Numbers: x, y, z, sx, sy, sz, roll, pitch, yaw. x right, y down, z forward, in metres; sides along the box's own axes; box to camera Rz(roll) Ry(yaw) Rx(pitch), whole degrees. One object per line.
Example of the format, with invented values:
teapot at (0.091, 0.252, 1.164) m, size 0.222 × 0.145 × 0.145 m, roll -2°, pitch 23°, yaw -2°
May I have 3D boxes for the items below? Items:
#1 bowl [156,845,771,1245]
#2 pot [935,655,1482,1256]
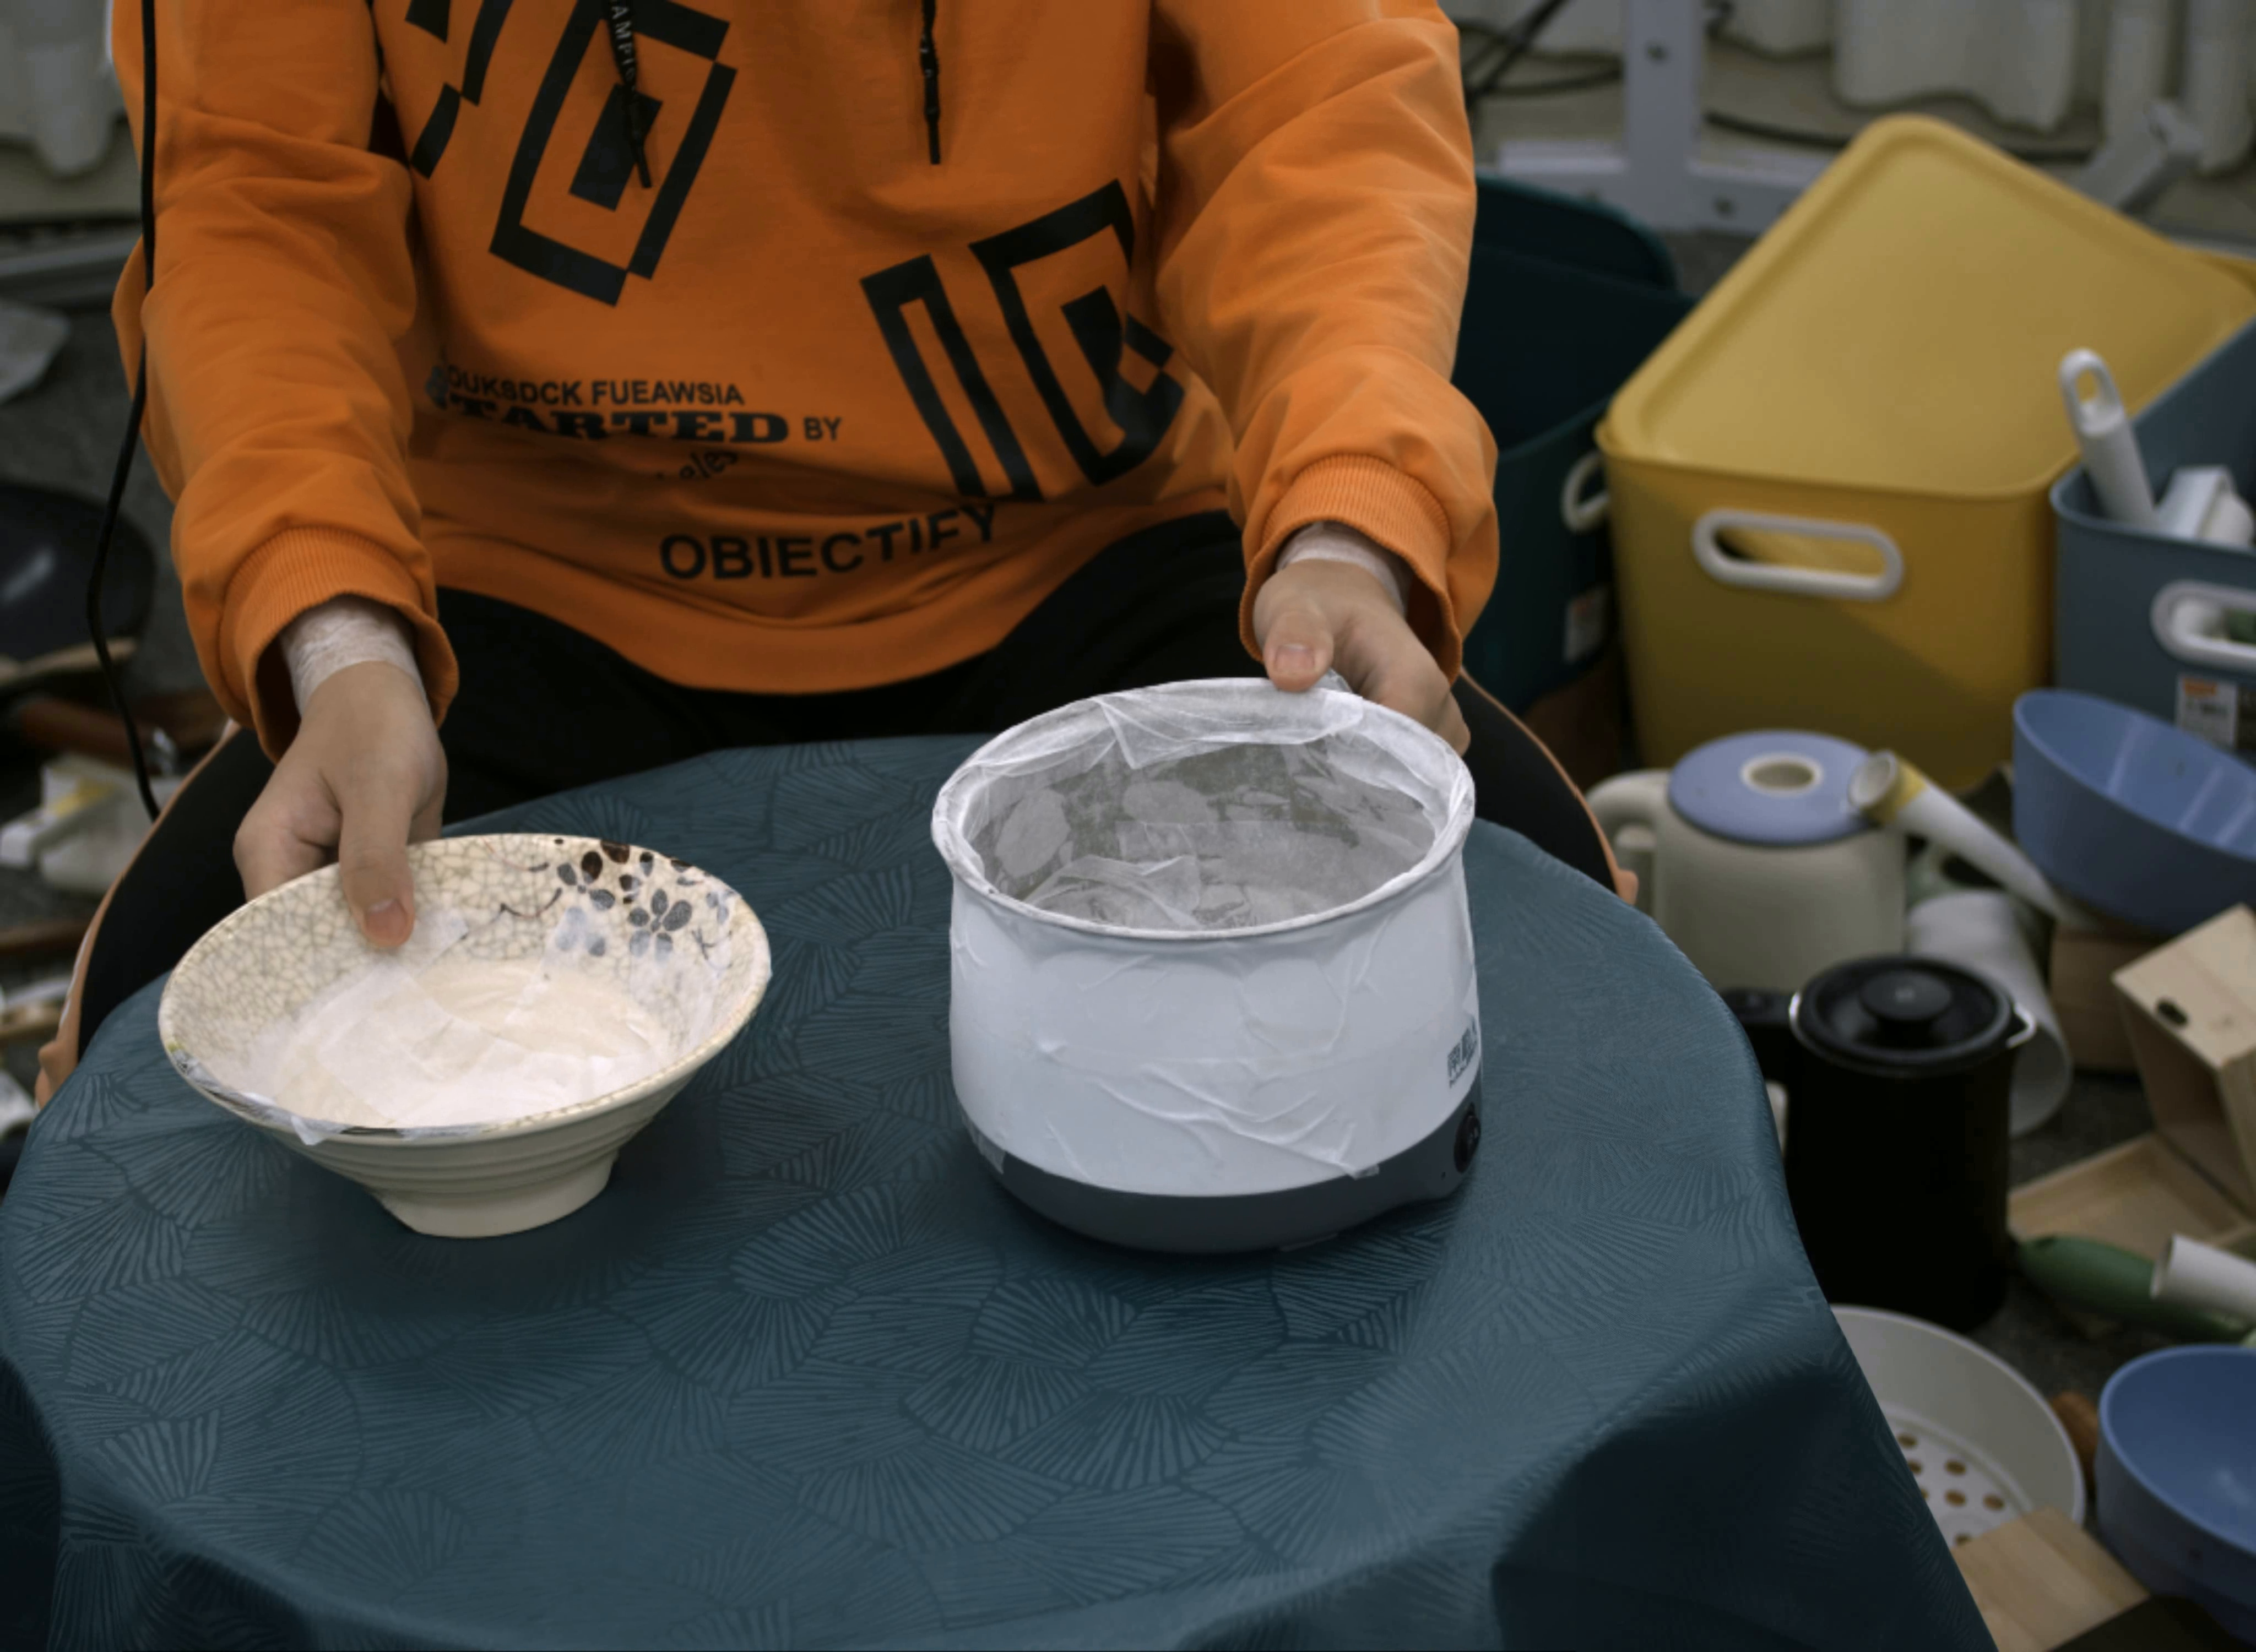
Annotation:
bowl at (-0.217, 0.085, 1.873) m, size 0.203 × 0.077 × 0.207 m, roll -3°, pitch 25°, yaw 2°
pot at (0.037, 0.035, 1.877) m, size 0.177 × 0.135 × 0.238 m, roll 7°, pitch 29°, yaw 18°
